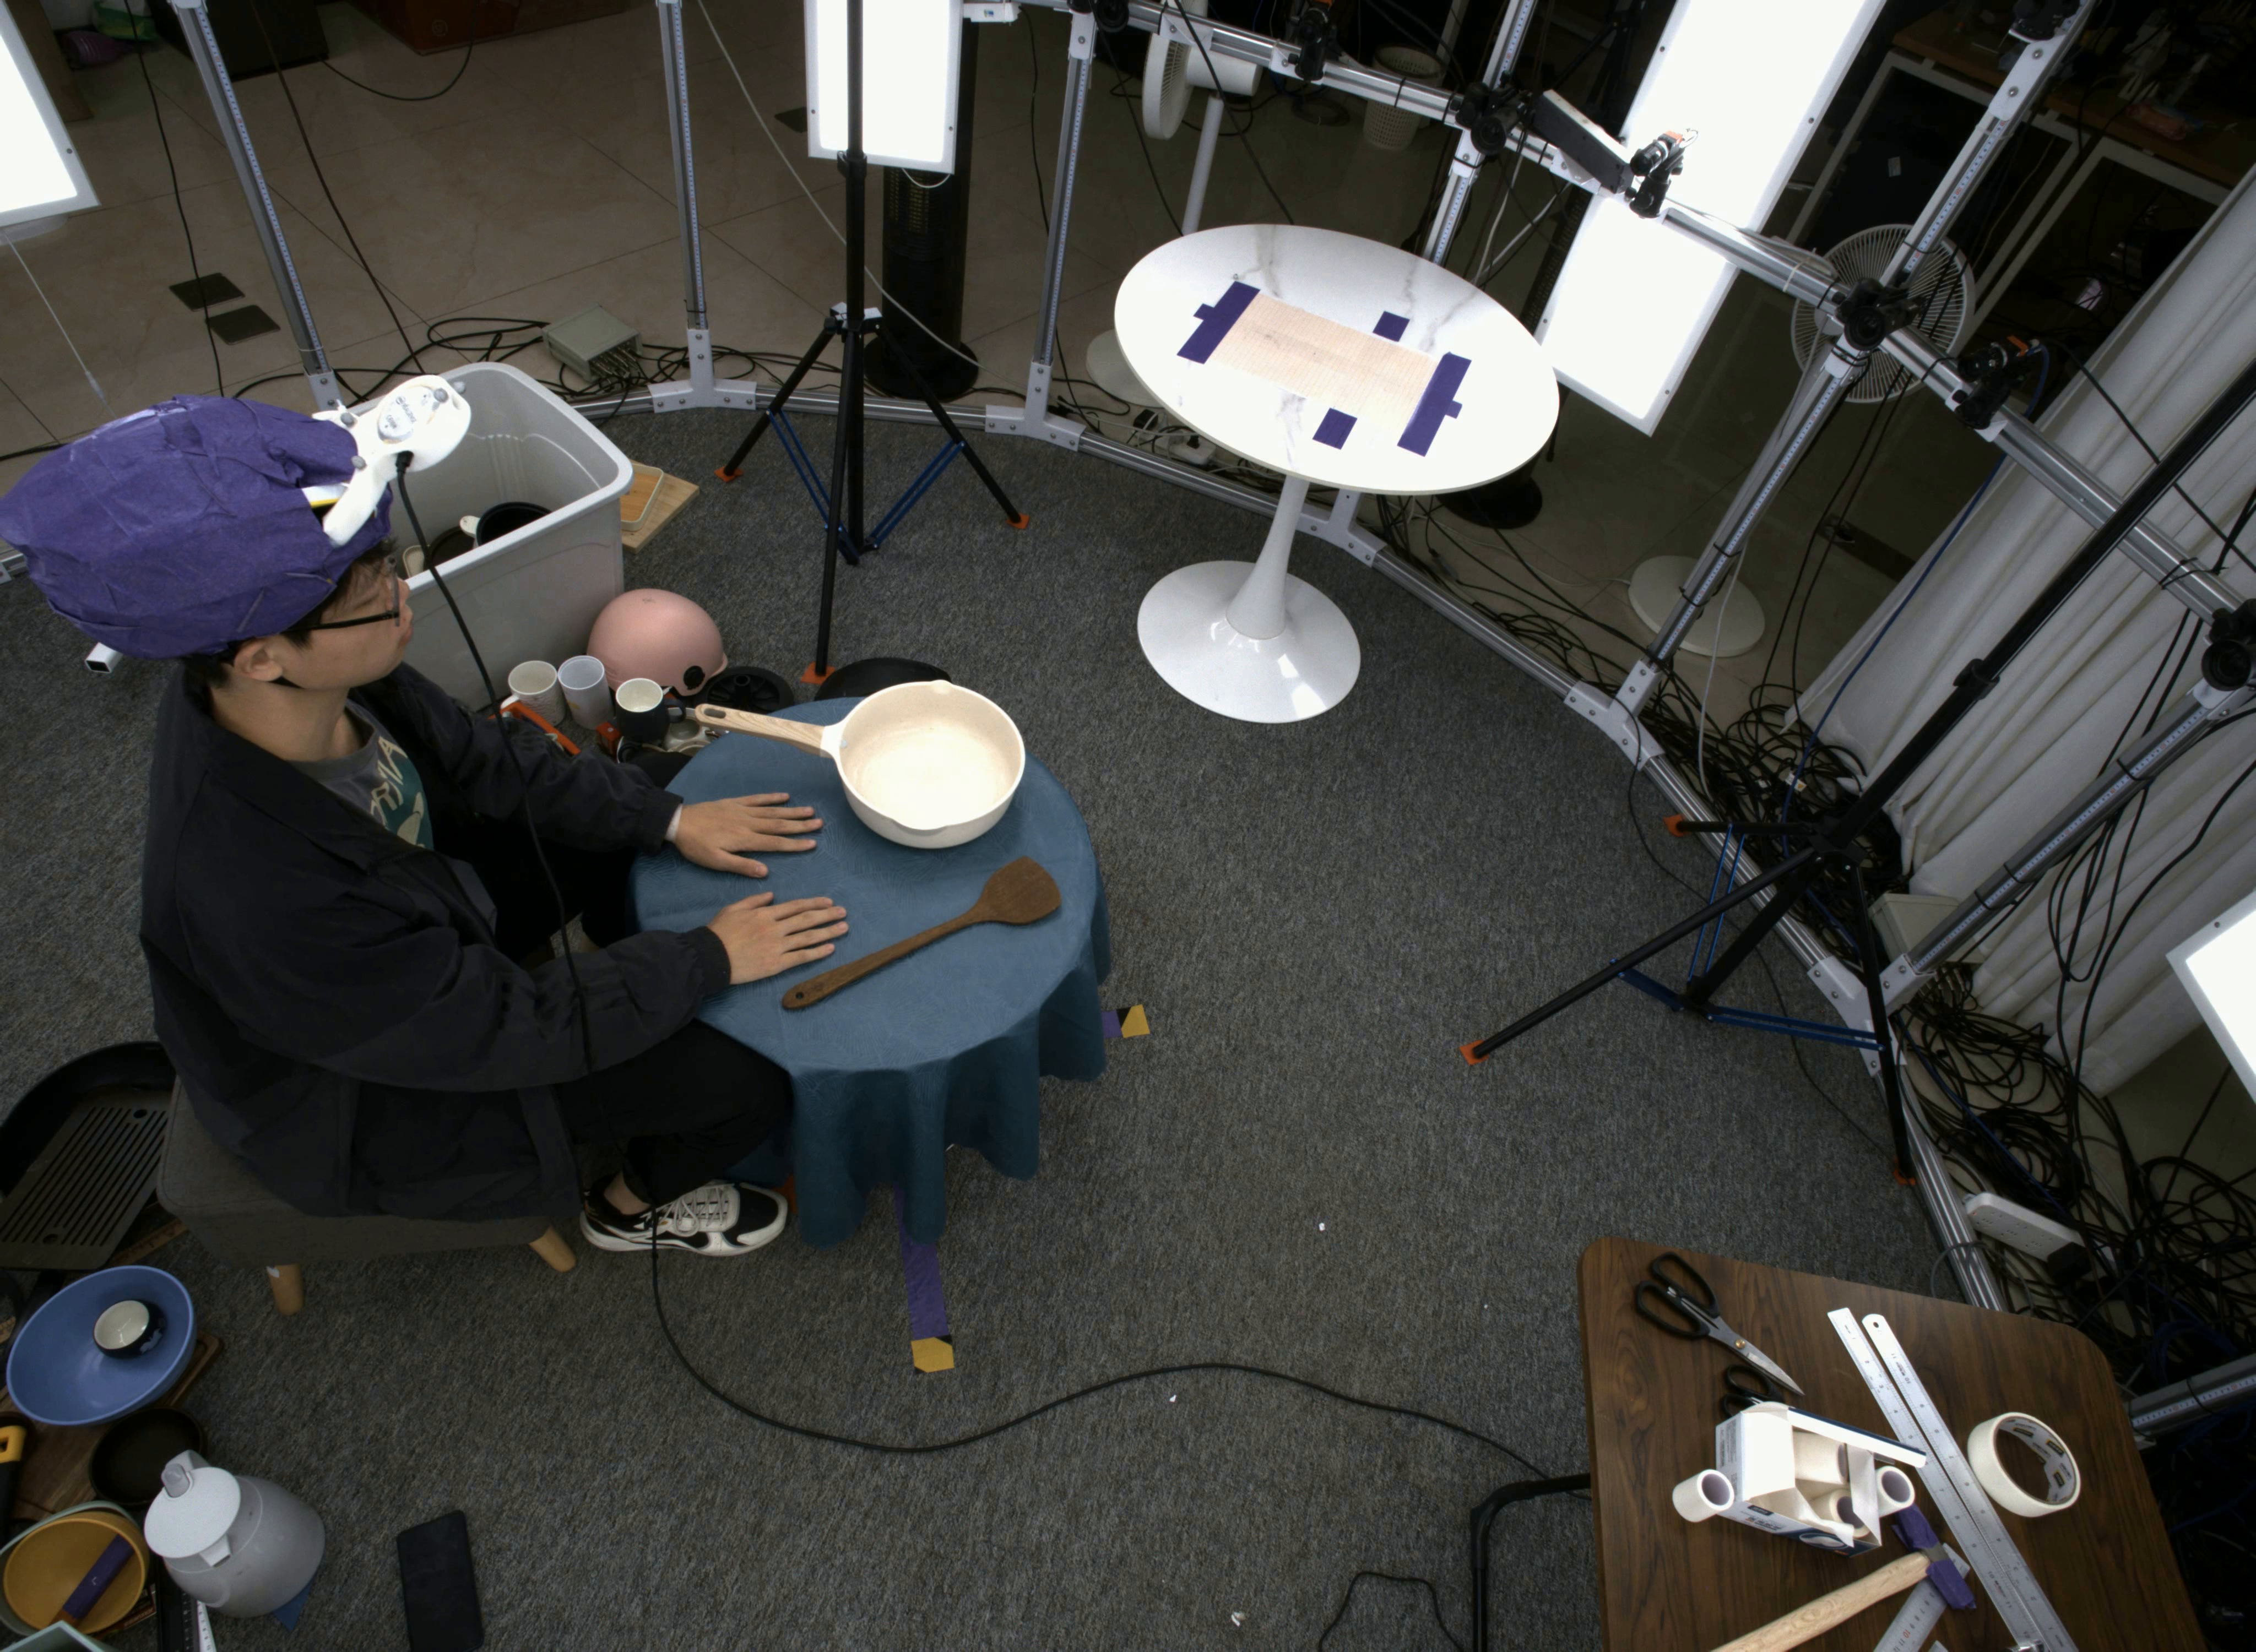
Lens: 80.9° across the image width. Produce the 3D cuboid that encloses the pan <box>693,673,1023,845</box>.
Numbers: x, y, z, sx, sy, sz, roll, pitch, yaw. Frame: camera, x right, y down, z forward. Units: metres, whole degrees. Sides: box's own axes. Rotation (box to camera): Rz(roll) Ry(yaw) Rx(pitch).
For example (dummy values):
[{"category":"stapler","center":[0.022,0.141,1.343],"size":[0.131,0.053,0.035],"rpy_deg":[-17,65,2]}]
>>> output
[{"category":"pan","center":[-0.360,-0.098,1.748],"size":[0.434,0.104,0.259],"rpy_deg":[7,54,-9]}]

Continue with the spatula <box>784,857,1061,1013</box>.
[{"category":"spatula","center":[-0.259,0.143,1.650],"size":[0.387,0.016,0.093],"rpy_deg":[-25,63,-28]}]
